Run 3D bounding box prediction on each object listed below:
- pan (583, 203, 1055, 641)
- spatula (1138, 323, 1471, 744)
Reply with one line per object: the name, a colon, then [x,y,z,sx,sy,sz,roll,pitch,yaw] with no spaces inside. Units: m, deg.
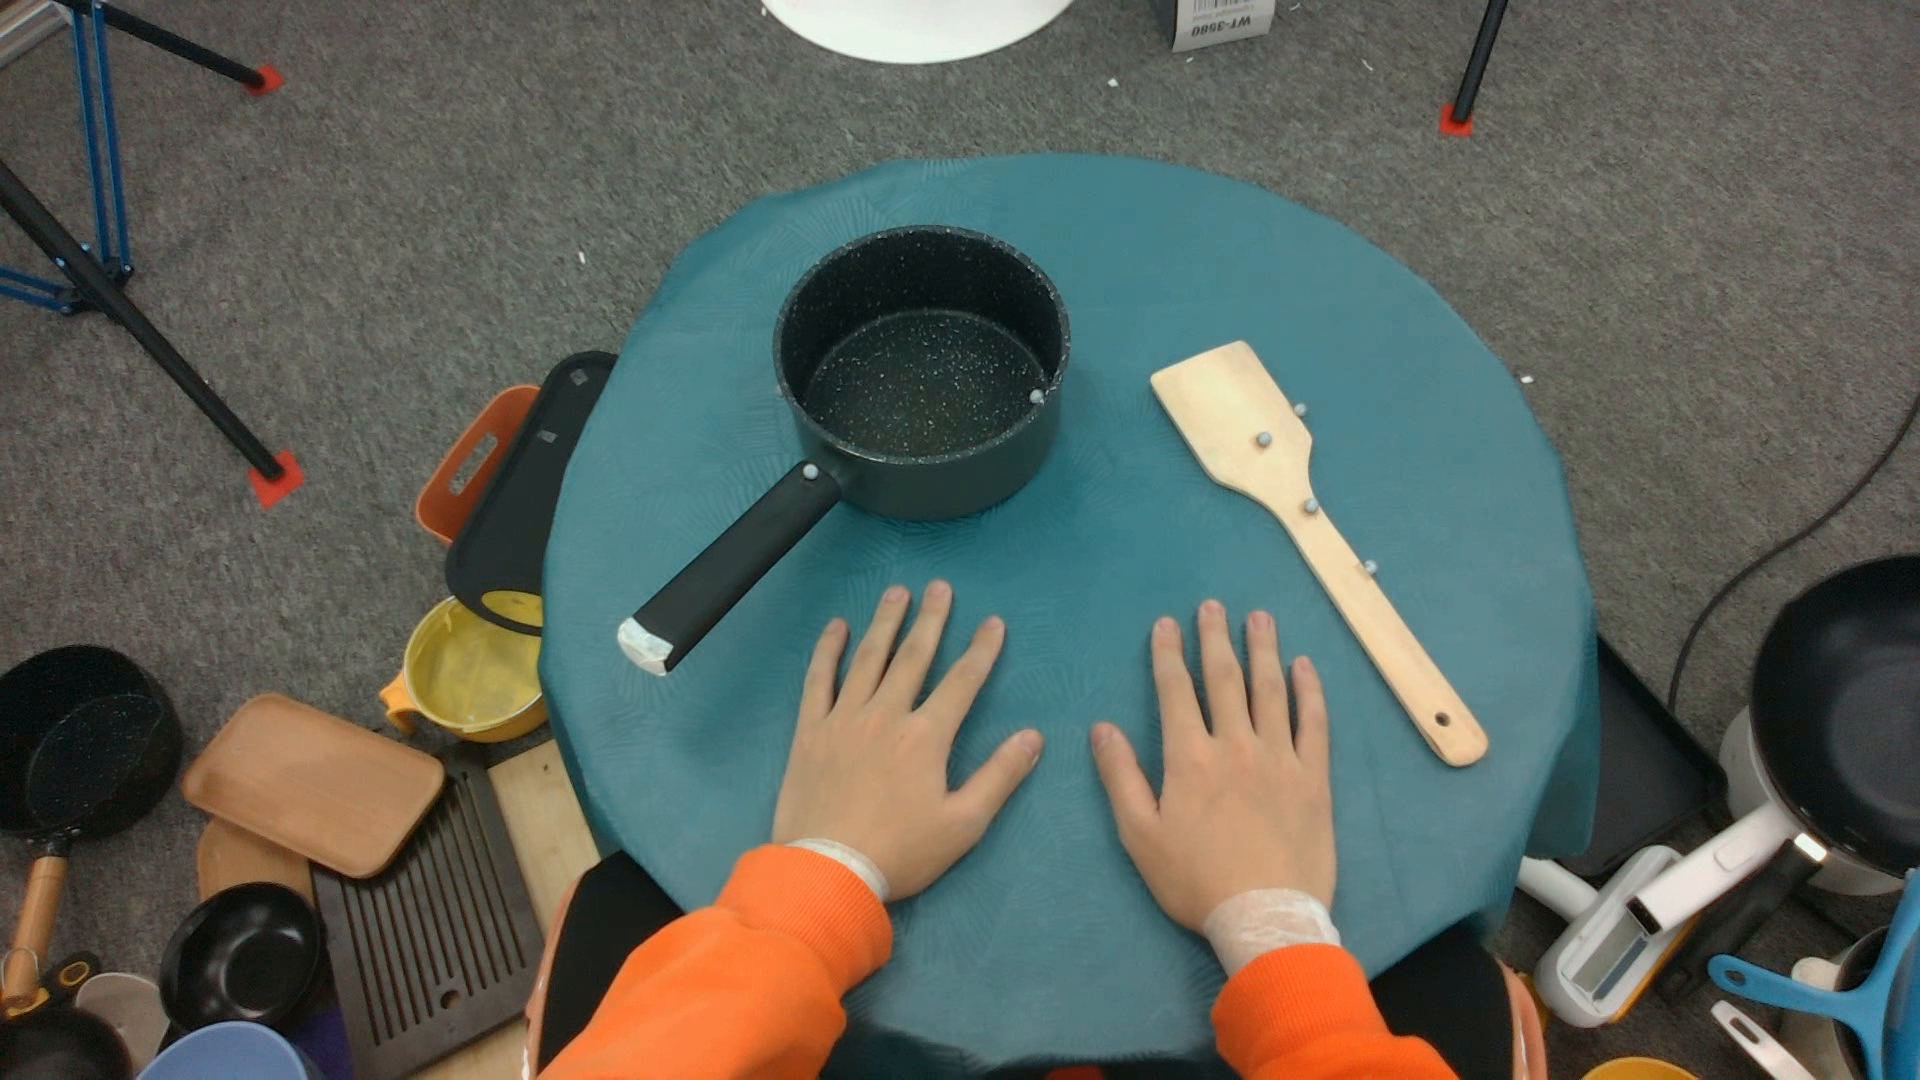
pan: [-0.078,-0.055,0.780,0.172,0.086,0.330,32,65,19]
spatula: [0.201,-0.010,0.791,0.072,0.010,0.293,-21,62,-14]
